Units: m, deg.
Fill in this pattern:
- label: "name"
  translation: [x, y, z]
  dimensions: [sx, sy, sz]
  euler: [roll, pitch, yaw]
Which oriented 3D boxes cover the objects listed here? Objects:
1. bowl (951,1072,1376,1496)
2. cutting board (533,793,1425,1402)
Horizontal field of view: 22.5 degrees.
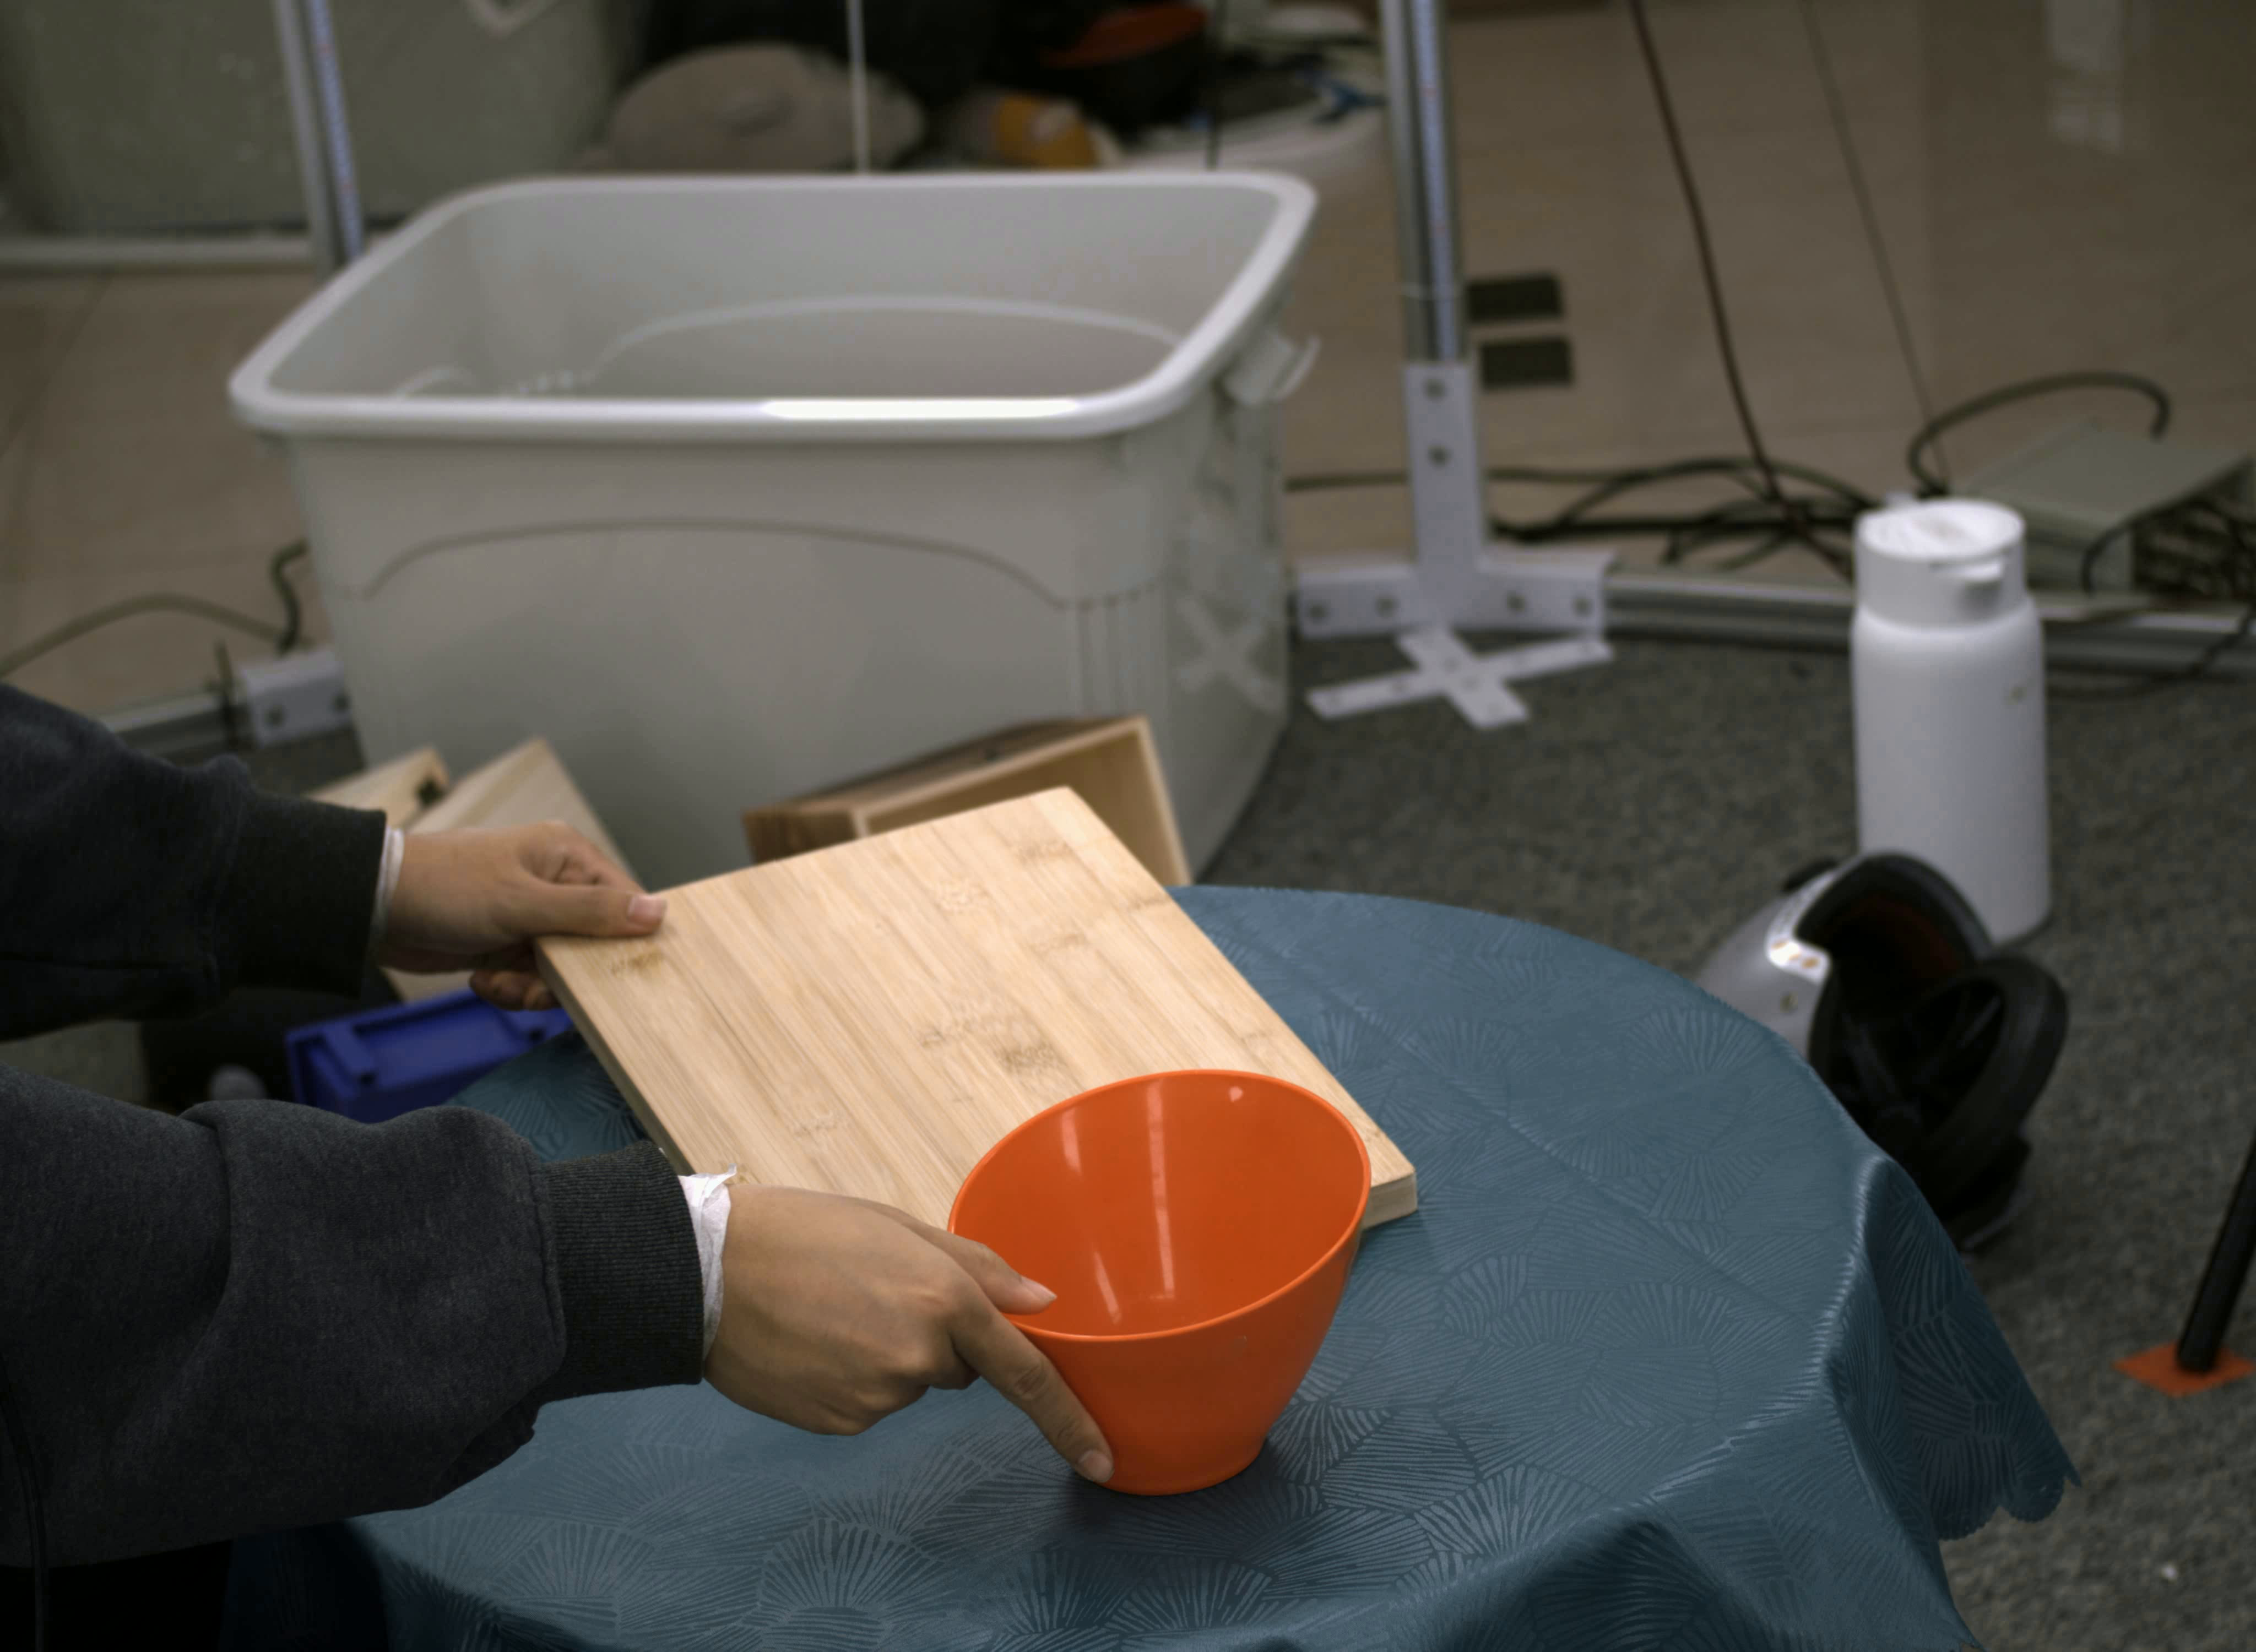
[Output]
- label: "bowl"
  translation: [0.015, 0.165, 1.964]
  dimensions: [0.148, 0.106, 0.146]
  euler: [-4, 26, 2]
- label: "cutting board"
  translation: [-0.066, 0.096, 2.200]
  dimensions: [0.250, 0.024, 0.344]
  euler: [-16, 32, -18]
